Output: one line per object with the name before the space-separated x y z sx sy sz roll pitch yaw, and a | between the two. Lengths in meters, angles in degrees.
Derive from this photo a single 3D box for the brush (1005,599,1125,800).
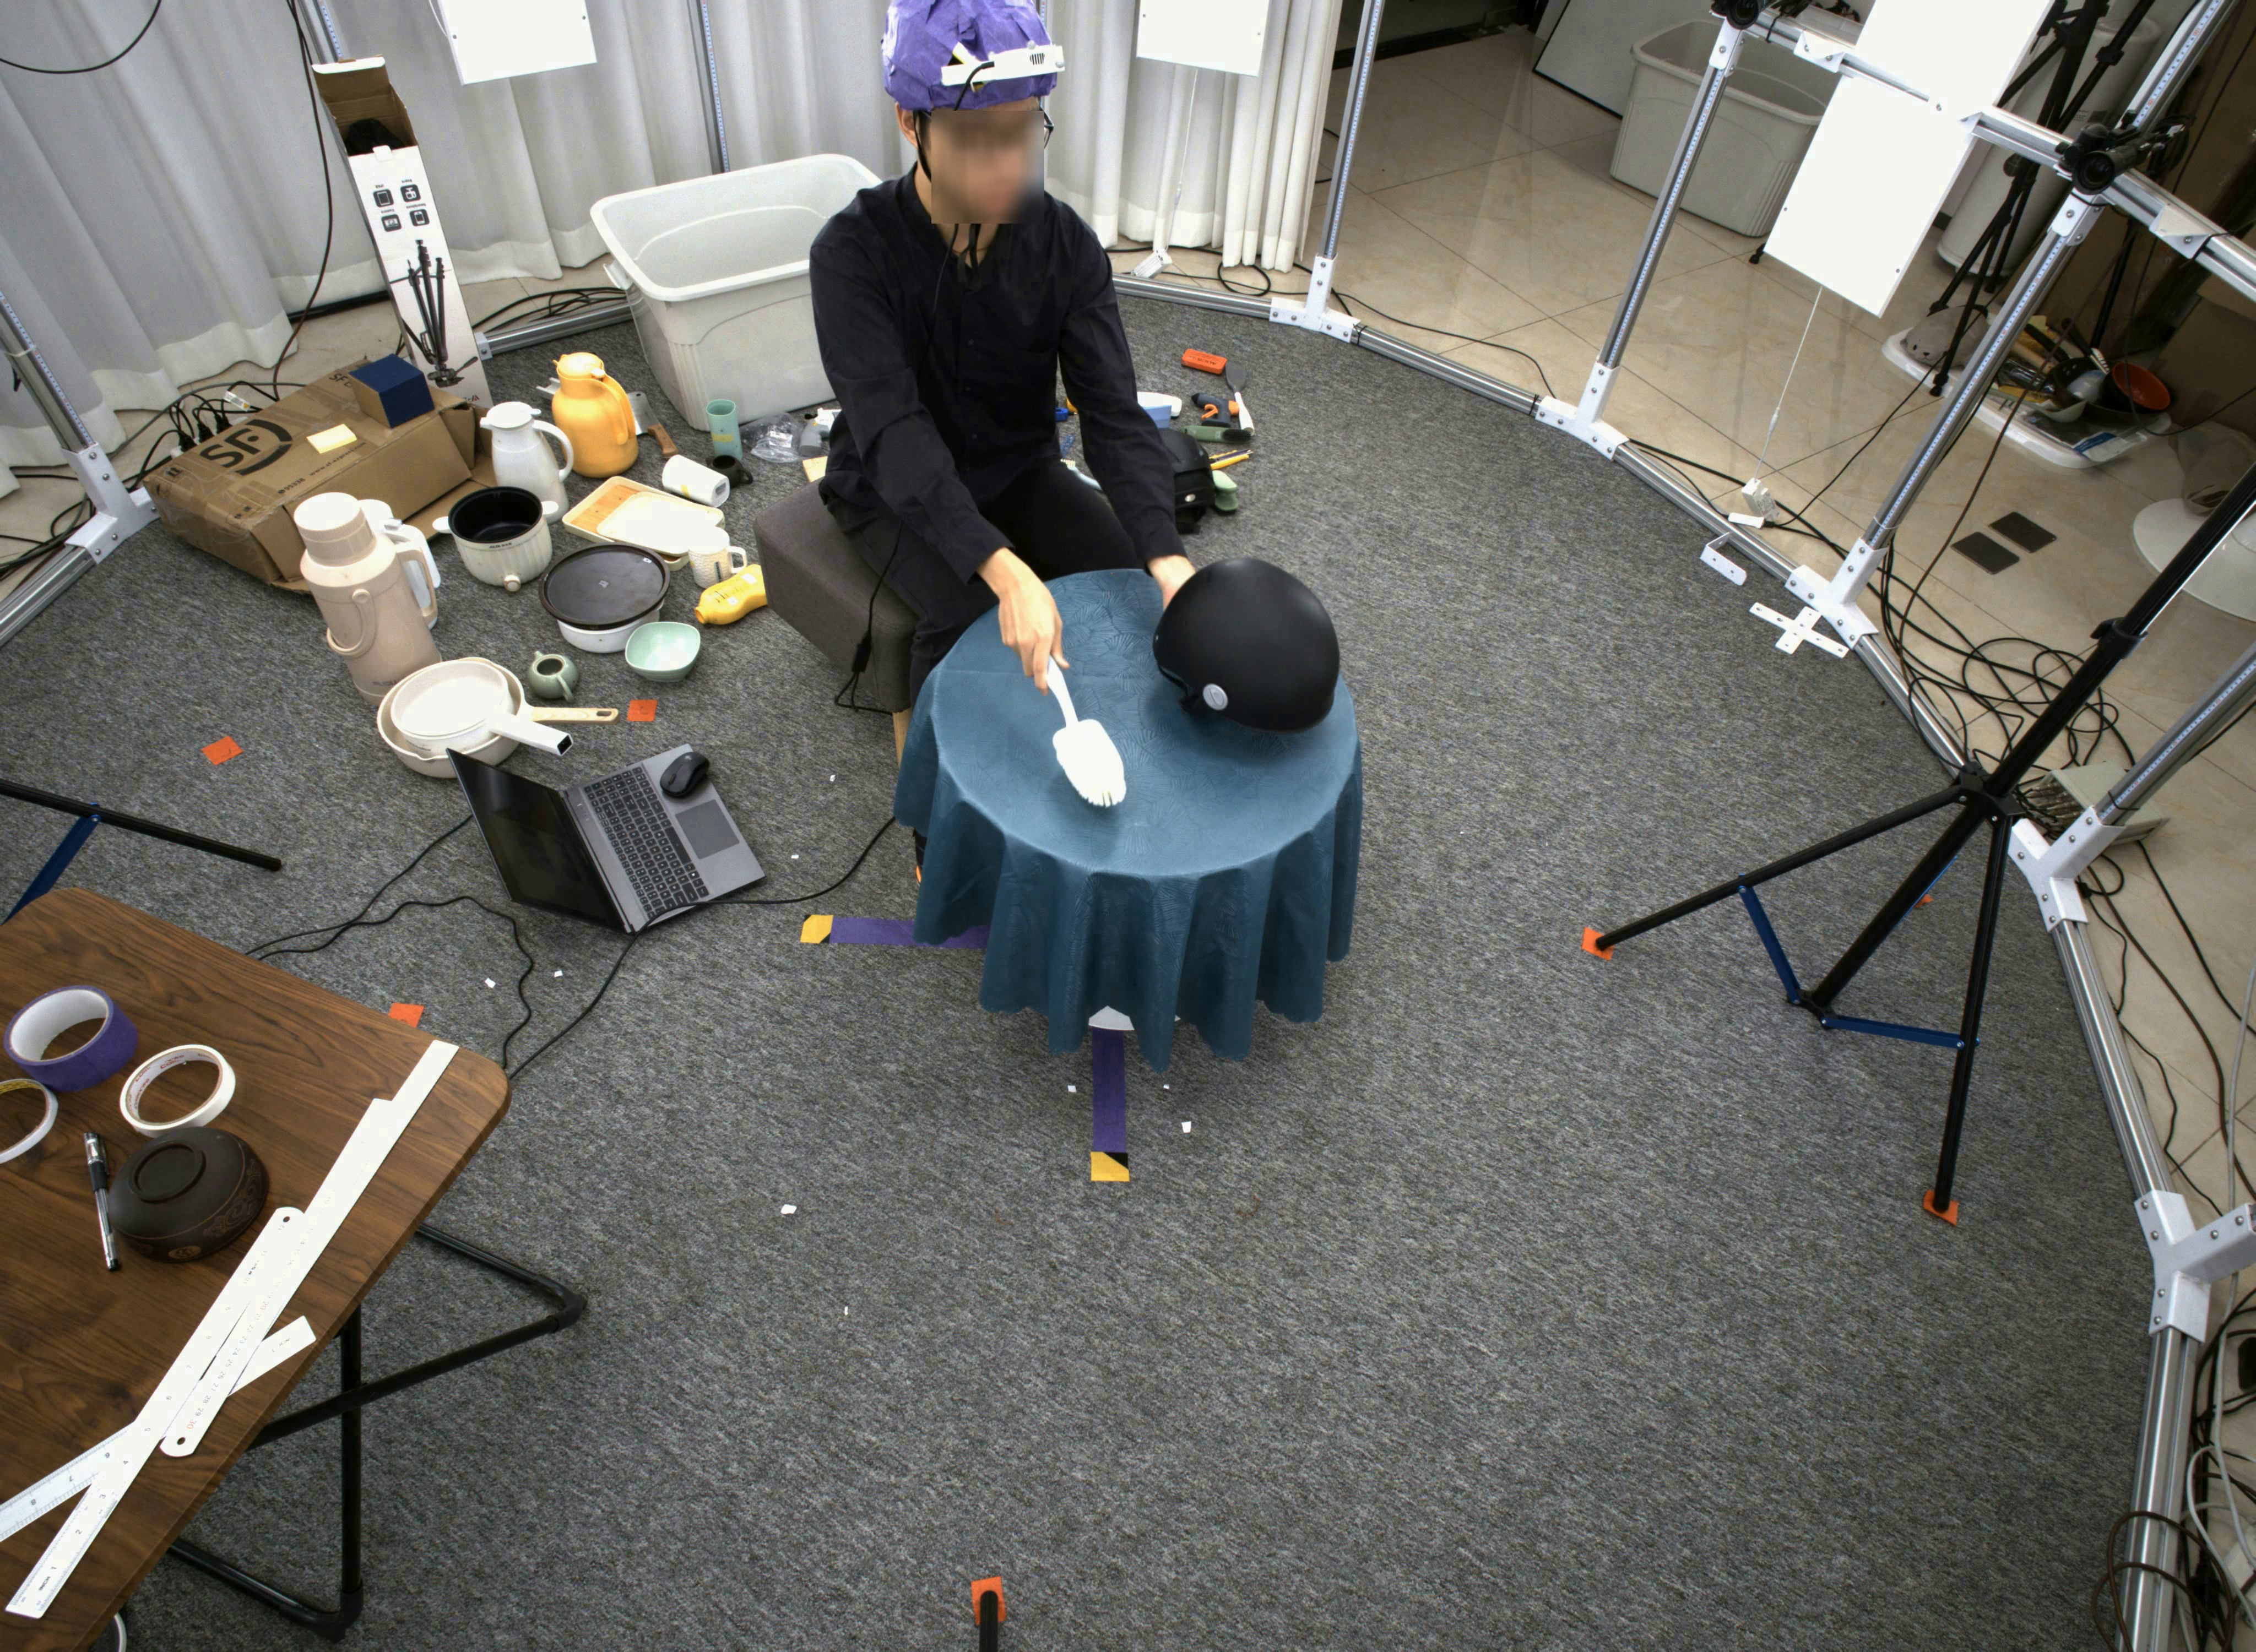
brush | -0.086 -0.167 1.718 0.082 0.083 0.331 -1 52 -45

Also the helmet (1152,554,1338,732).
helmet | 0.169 -0.267 1.744 0.231 0.163 0.278 -29 57 -30
